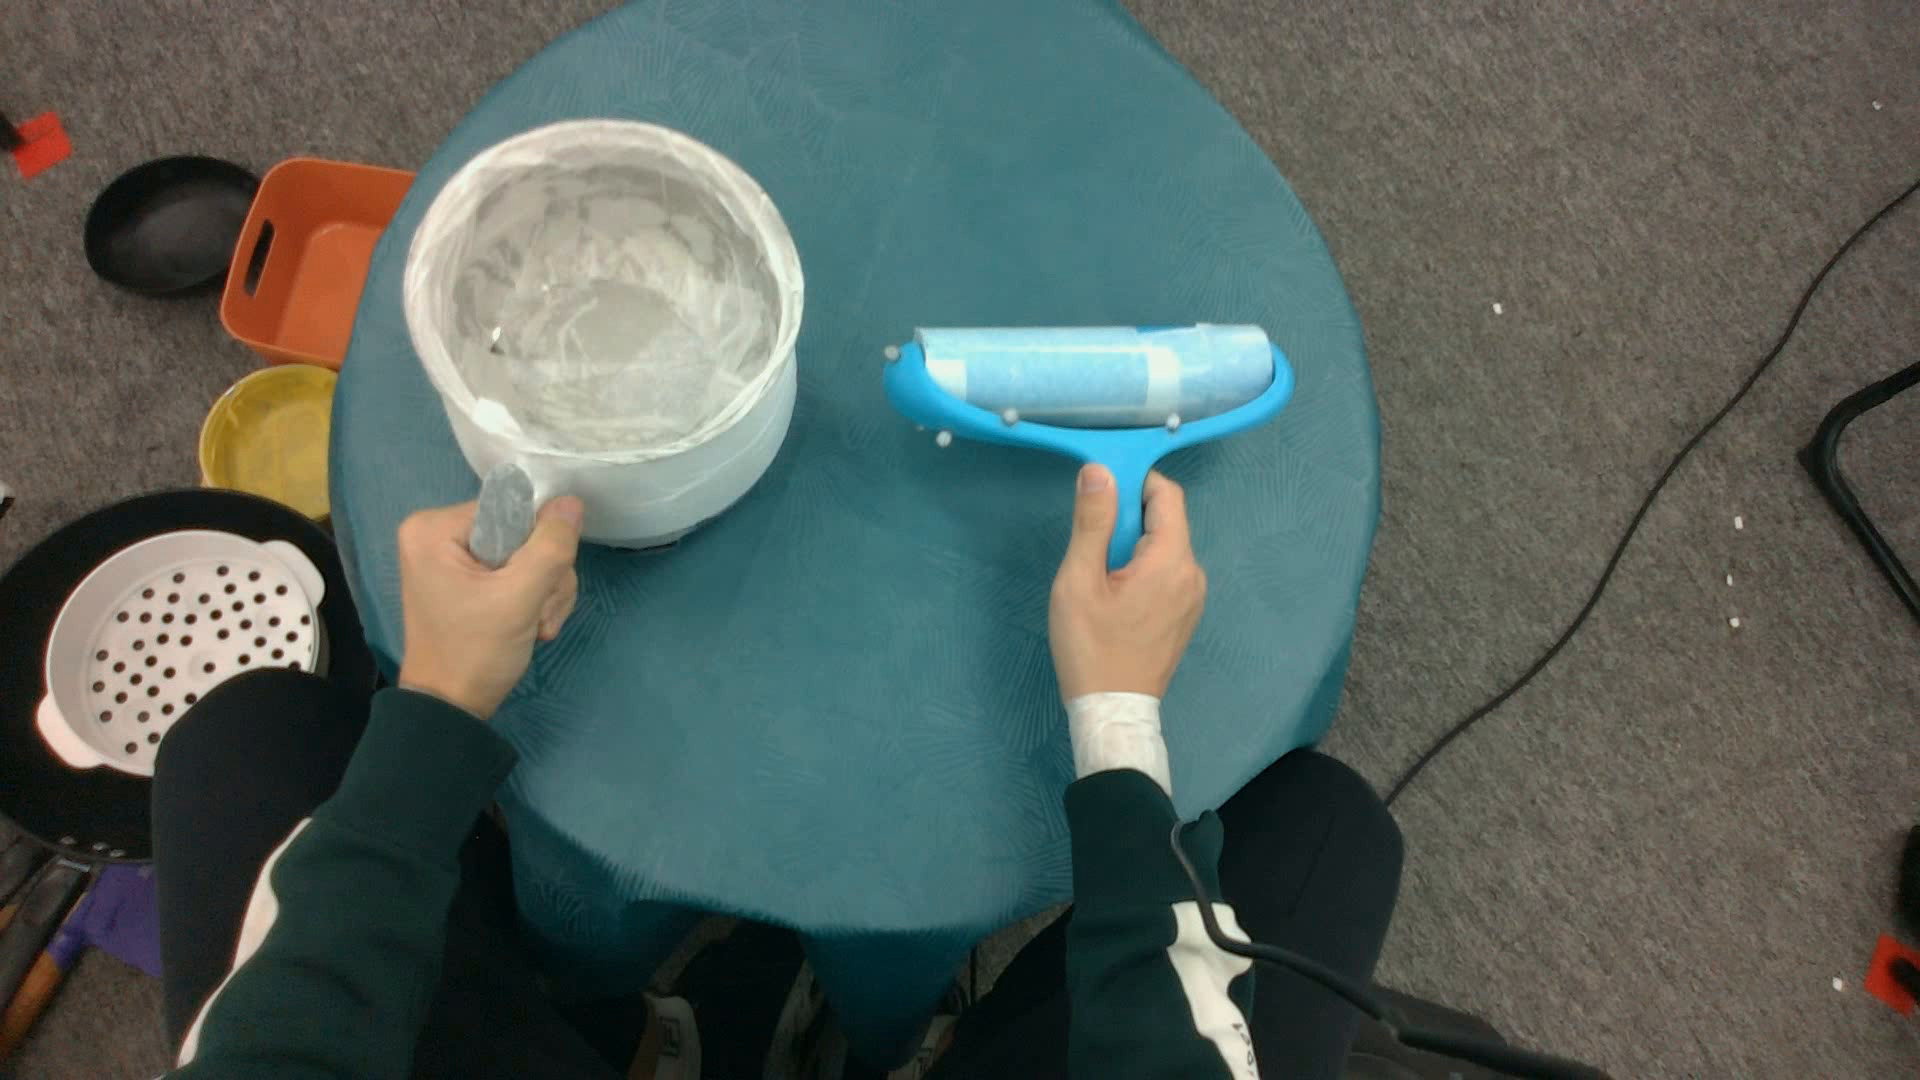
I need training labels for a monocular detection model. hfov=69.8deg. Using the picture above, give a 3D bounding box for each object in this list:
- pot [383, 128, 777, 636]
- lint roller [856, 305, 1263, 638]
[{"bbox_3d":[-0.191,-0.071,0.684,0.179,0.136,0.234,18,67,-2],"label":"pot"},{"bbox_3d":[0.068,-0.042,0.739,0.229,0.067,0.180,-7,72,-16],"label":"lint roller"}]
